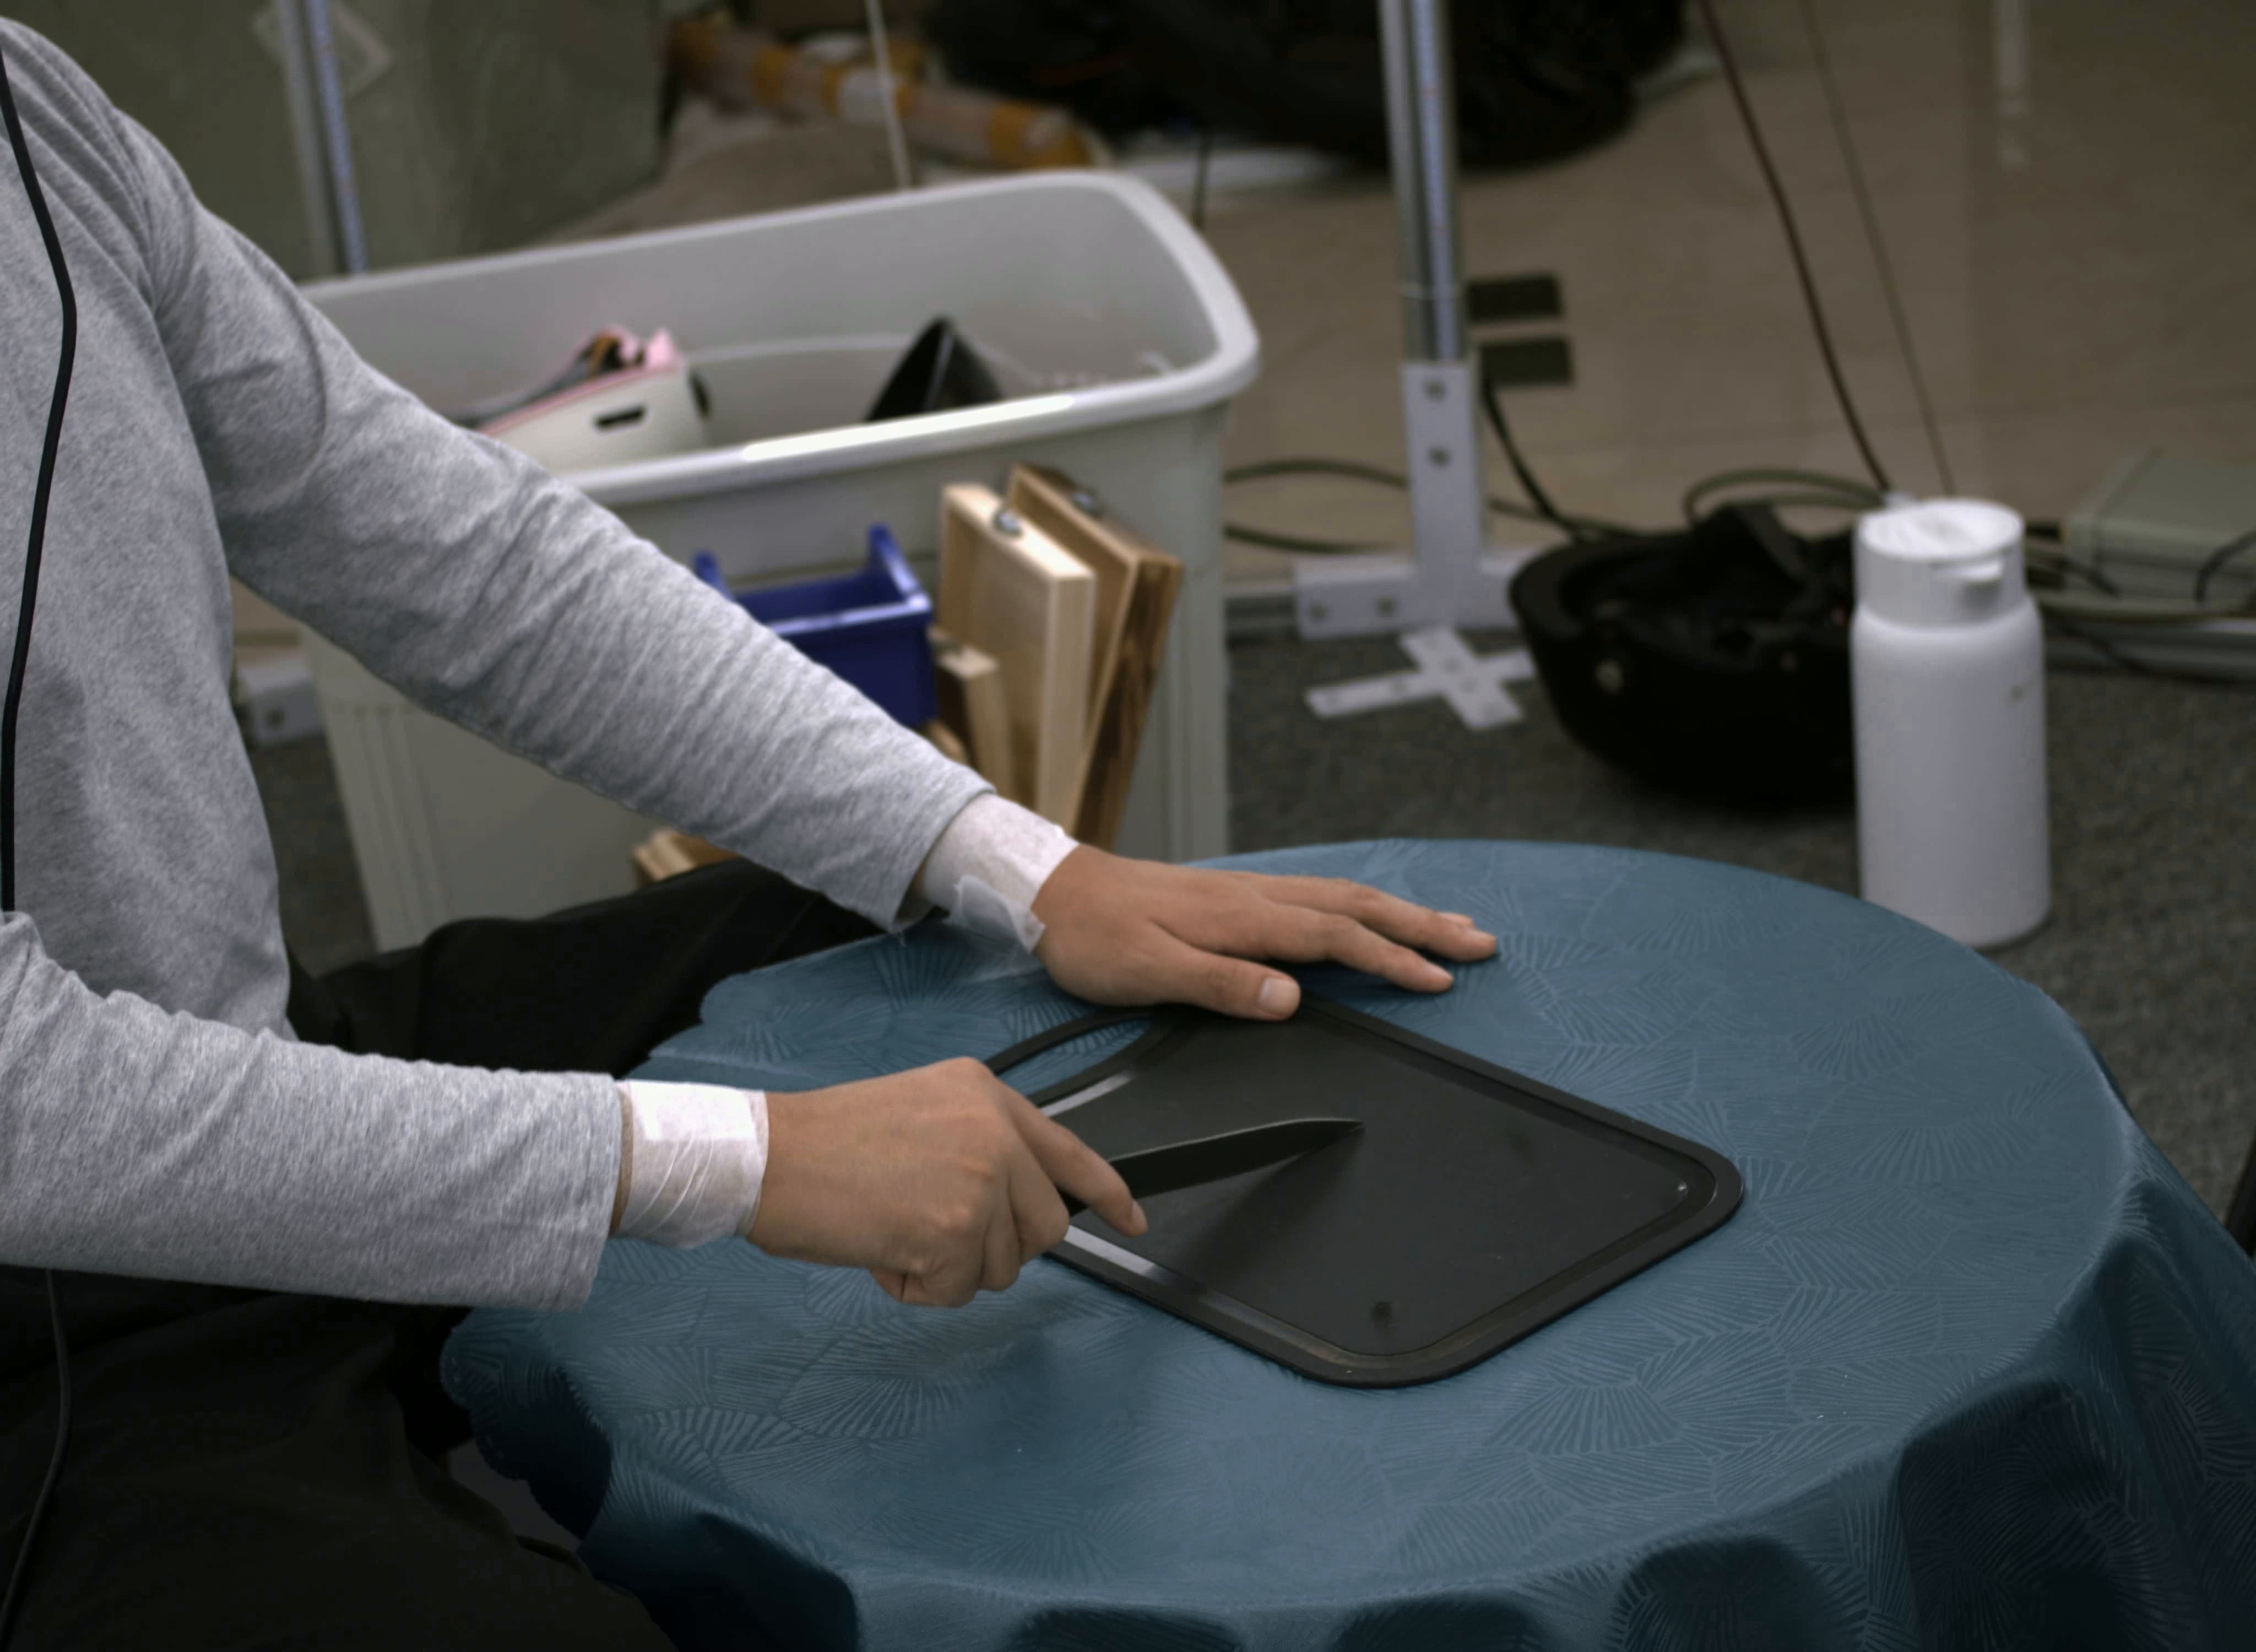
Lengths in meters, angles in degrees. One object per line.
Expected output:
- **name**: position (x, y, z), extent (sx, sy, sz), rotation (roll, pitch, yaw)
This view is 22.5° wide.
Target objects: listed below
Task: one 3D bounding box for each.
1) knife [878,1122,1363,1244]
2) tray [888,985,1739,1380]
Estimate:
- **knife**: position (0.002, 0.127, 2.099), extent (0.237, 0.025, 0.016), rotation (-8, 31, -41)
- **tray**: position (0.060, 0.128, 2.155), extent (0.209, 0.010, 0.322), rotation (-25, 30, -34)
